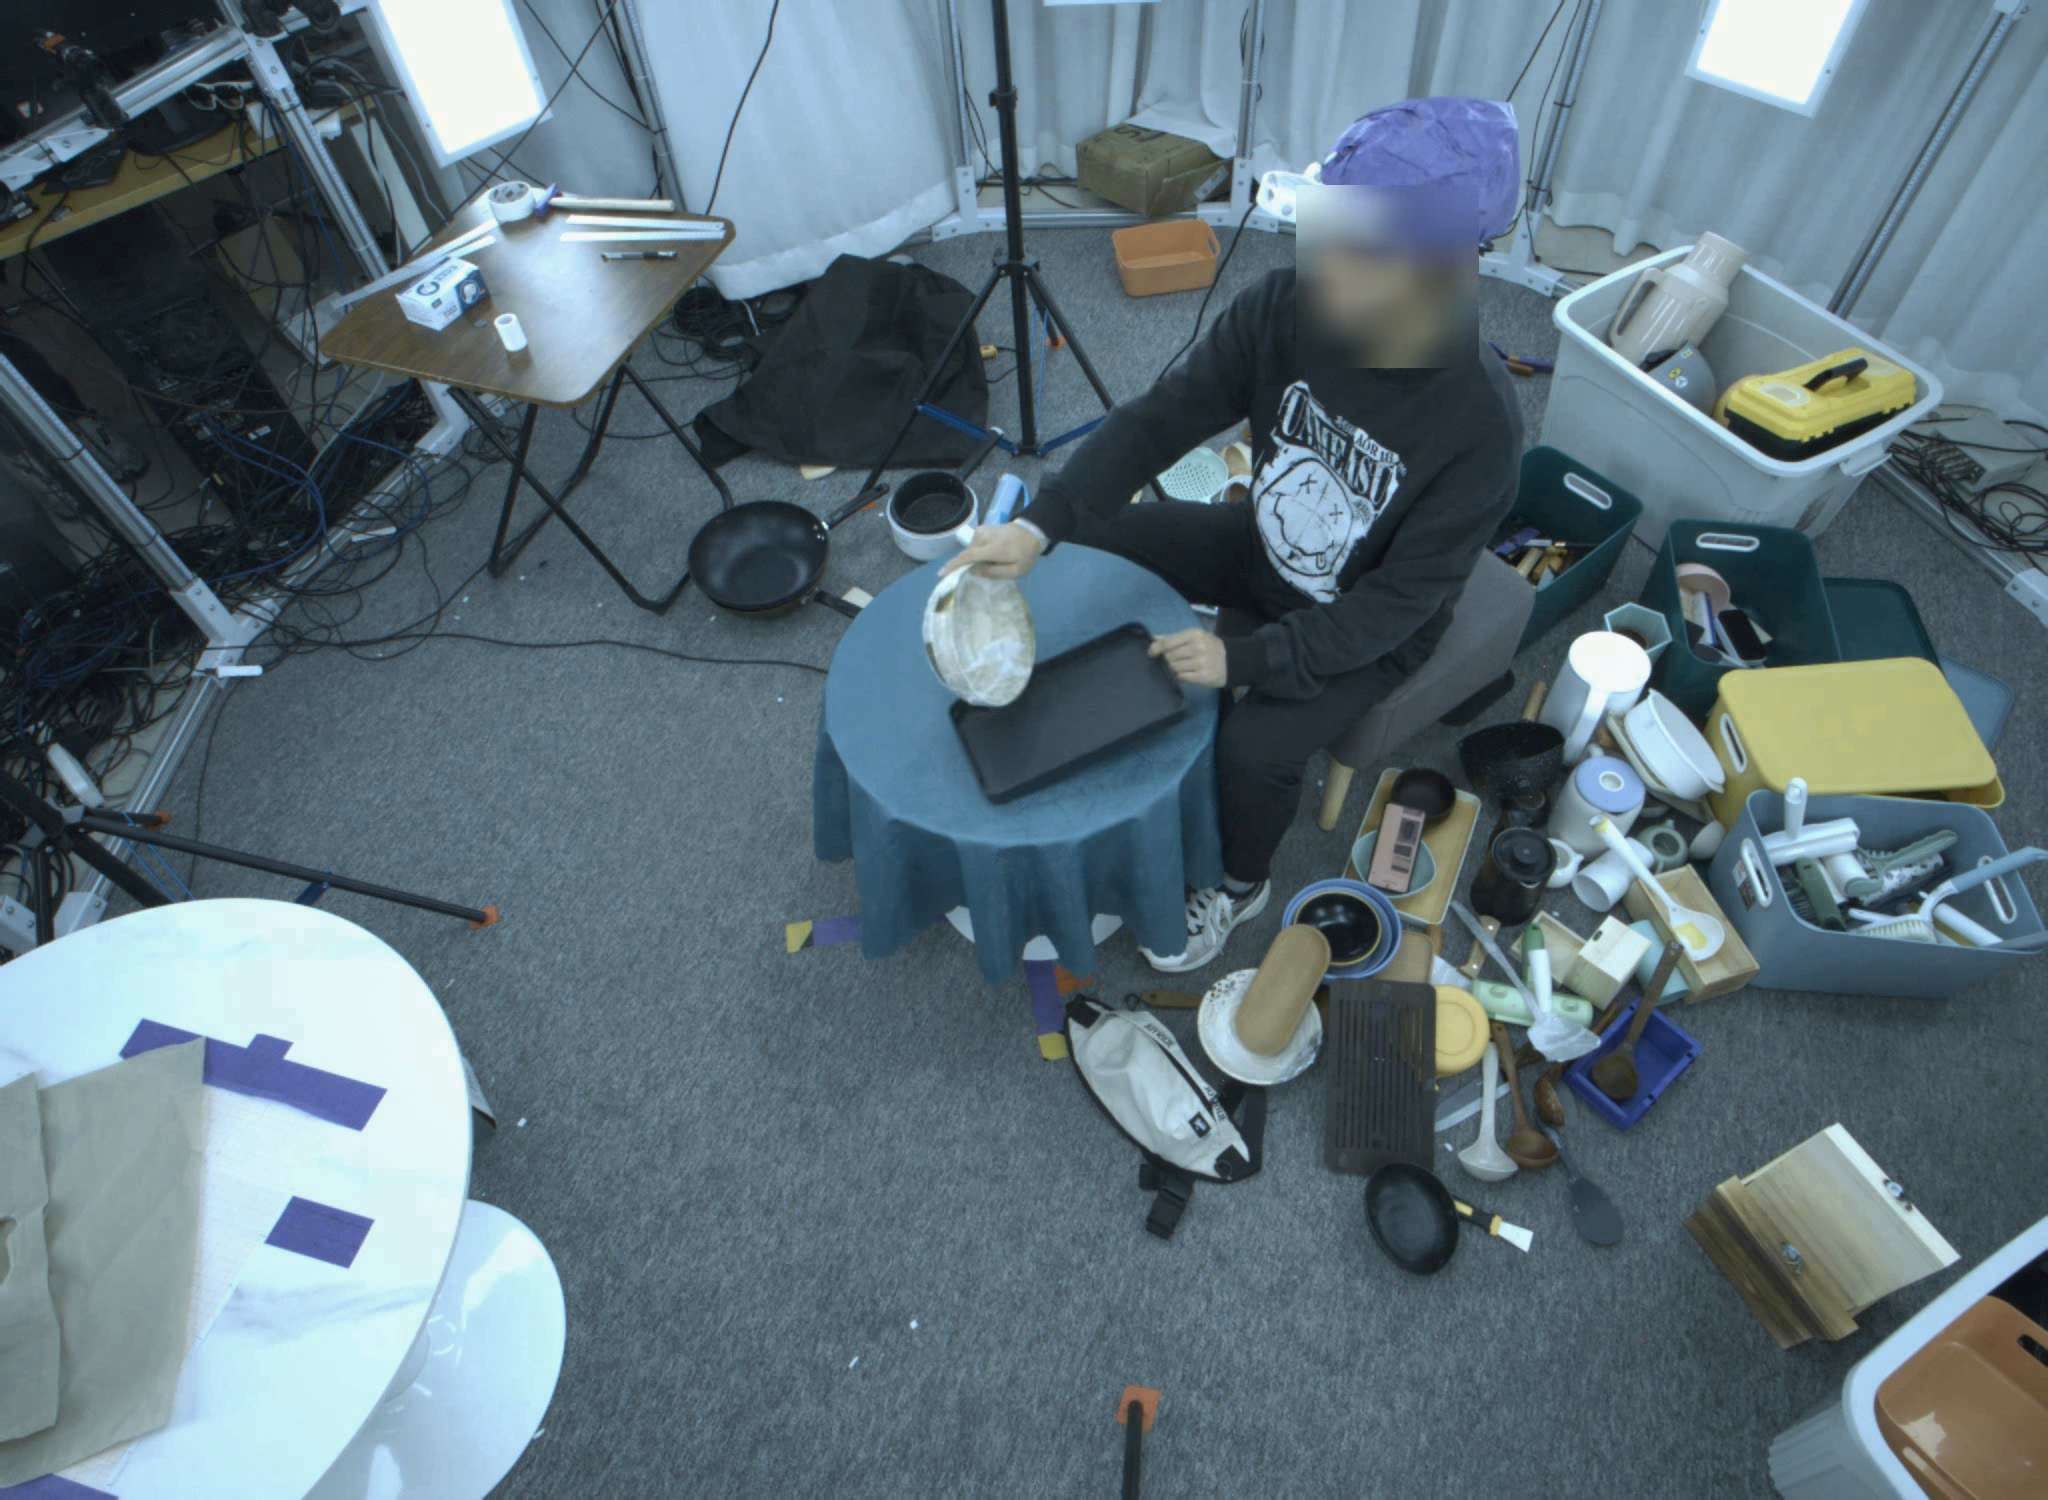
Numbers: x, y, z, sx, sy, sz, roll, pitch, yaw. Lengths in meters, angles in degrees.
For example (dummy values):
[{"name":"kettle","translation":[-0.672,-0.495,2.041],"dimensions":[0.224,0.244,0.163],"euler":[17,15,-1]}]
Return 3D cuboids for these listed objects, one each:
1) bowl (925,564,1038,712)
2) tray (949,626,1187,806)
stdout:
[{"name":"bowl","translation":[-0.071,-0.151,1.712],"dimensions":[0.093,0.219,0.214],"euler":[-5,50,33]},{"name":"tray","translation":[0.063,-0.052,1.775],"dimensions":[0.318,0.037,0.181],"euler":[-23,55,-2]}]
